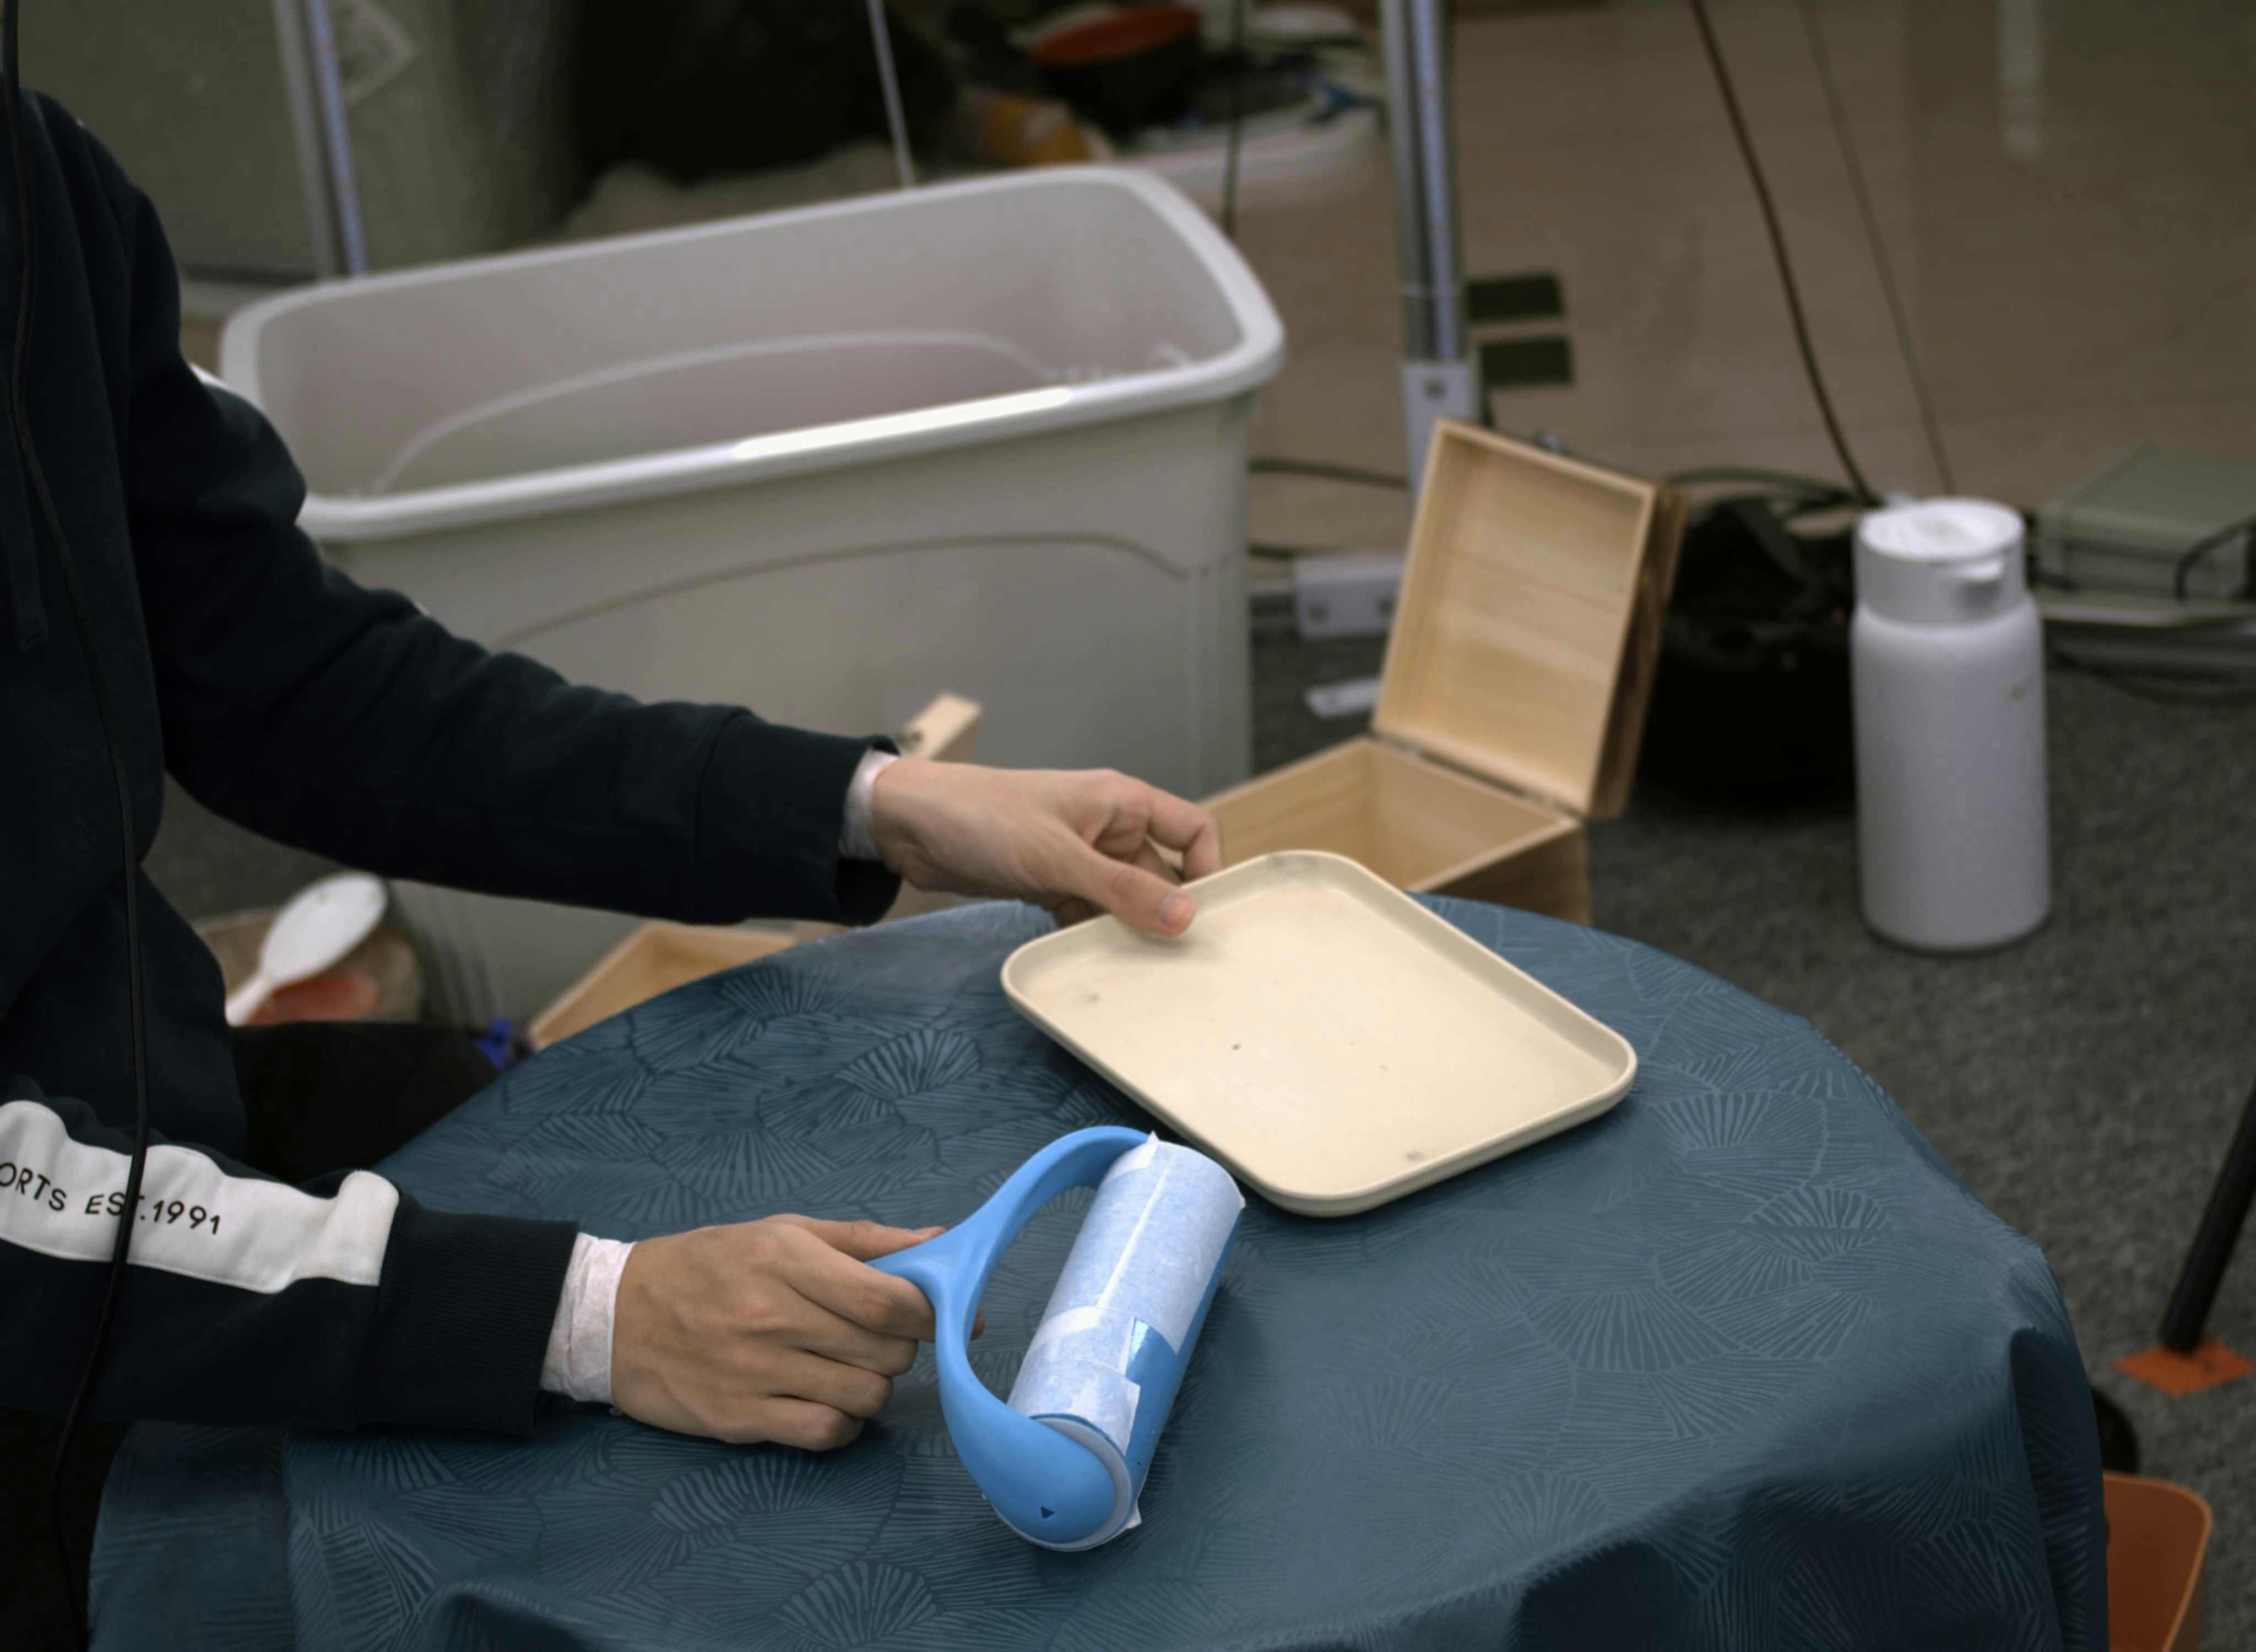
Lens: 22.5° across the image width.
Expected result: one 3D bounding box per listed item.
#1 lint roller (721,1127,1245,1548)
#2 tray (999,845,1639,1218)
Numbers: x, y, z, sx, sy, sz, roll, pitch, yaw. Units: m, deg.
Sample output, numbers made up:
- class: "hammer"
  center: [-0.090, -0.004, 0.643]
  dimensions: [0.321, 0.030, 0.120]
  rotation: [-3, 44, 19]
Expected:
- class: "lint roller"
  center: [-0.061, 0.179, 2.004]
  dimensions: [0.180, 0.069, 0.225]
  rotation: [-1, 27, 11]
- class: "tray"
  center: [0.072, 0.079, 2.213]
  dimensions: [0.170, 0.018, 0.237]
  rotation: [-21, 33, -26]
